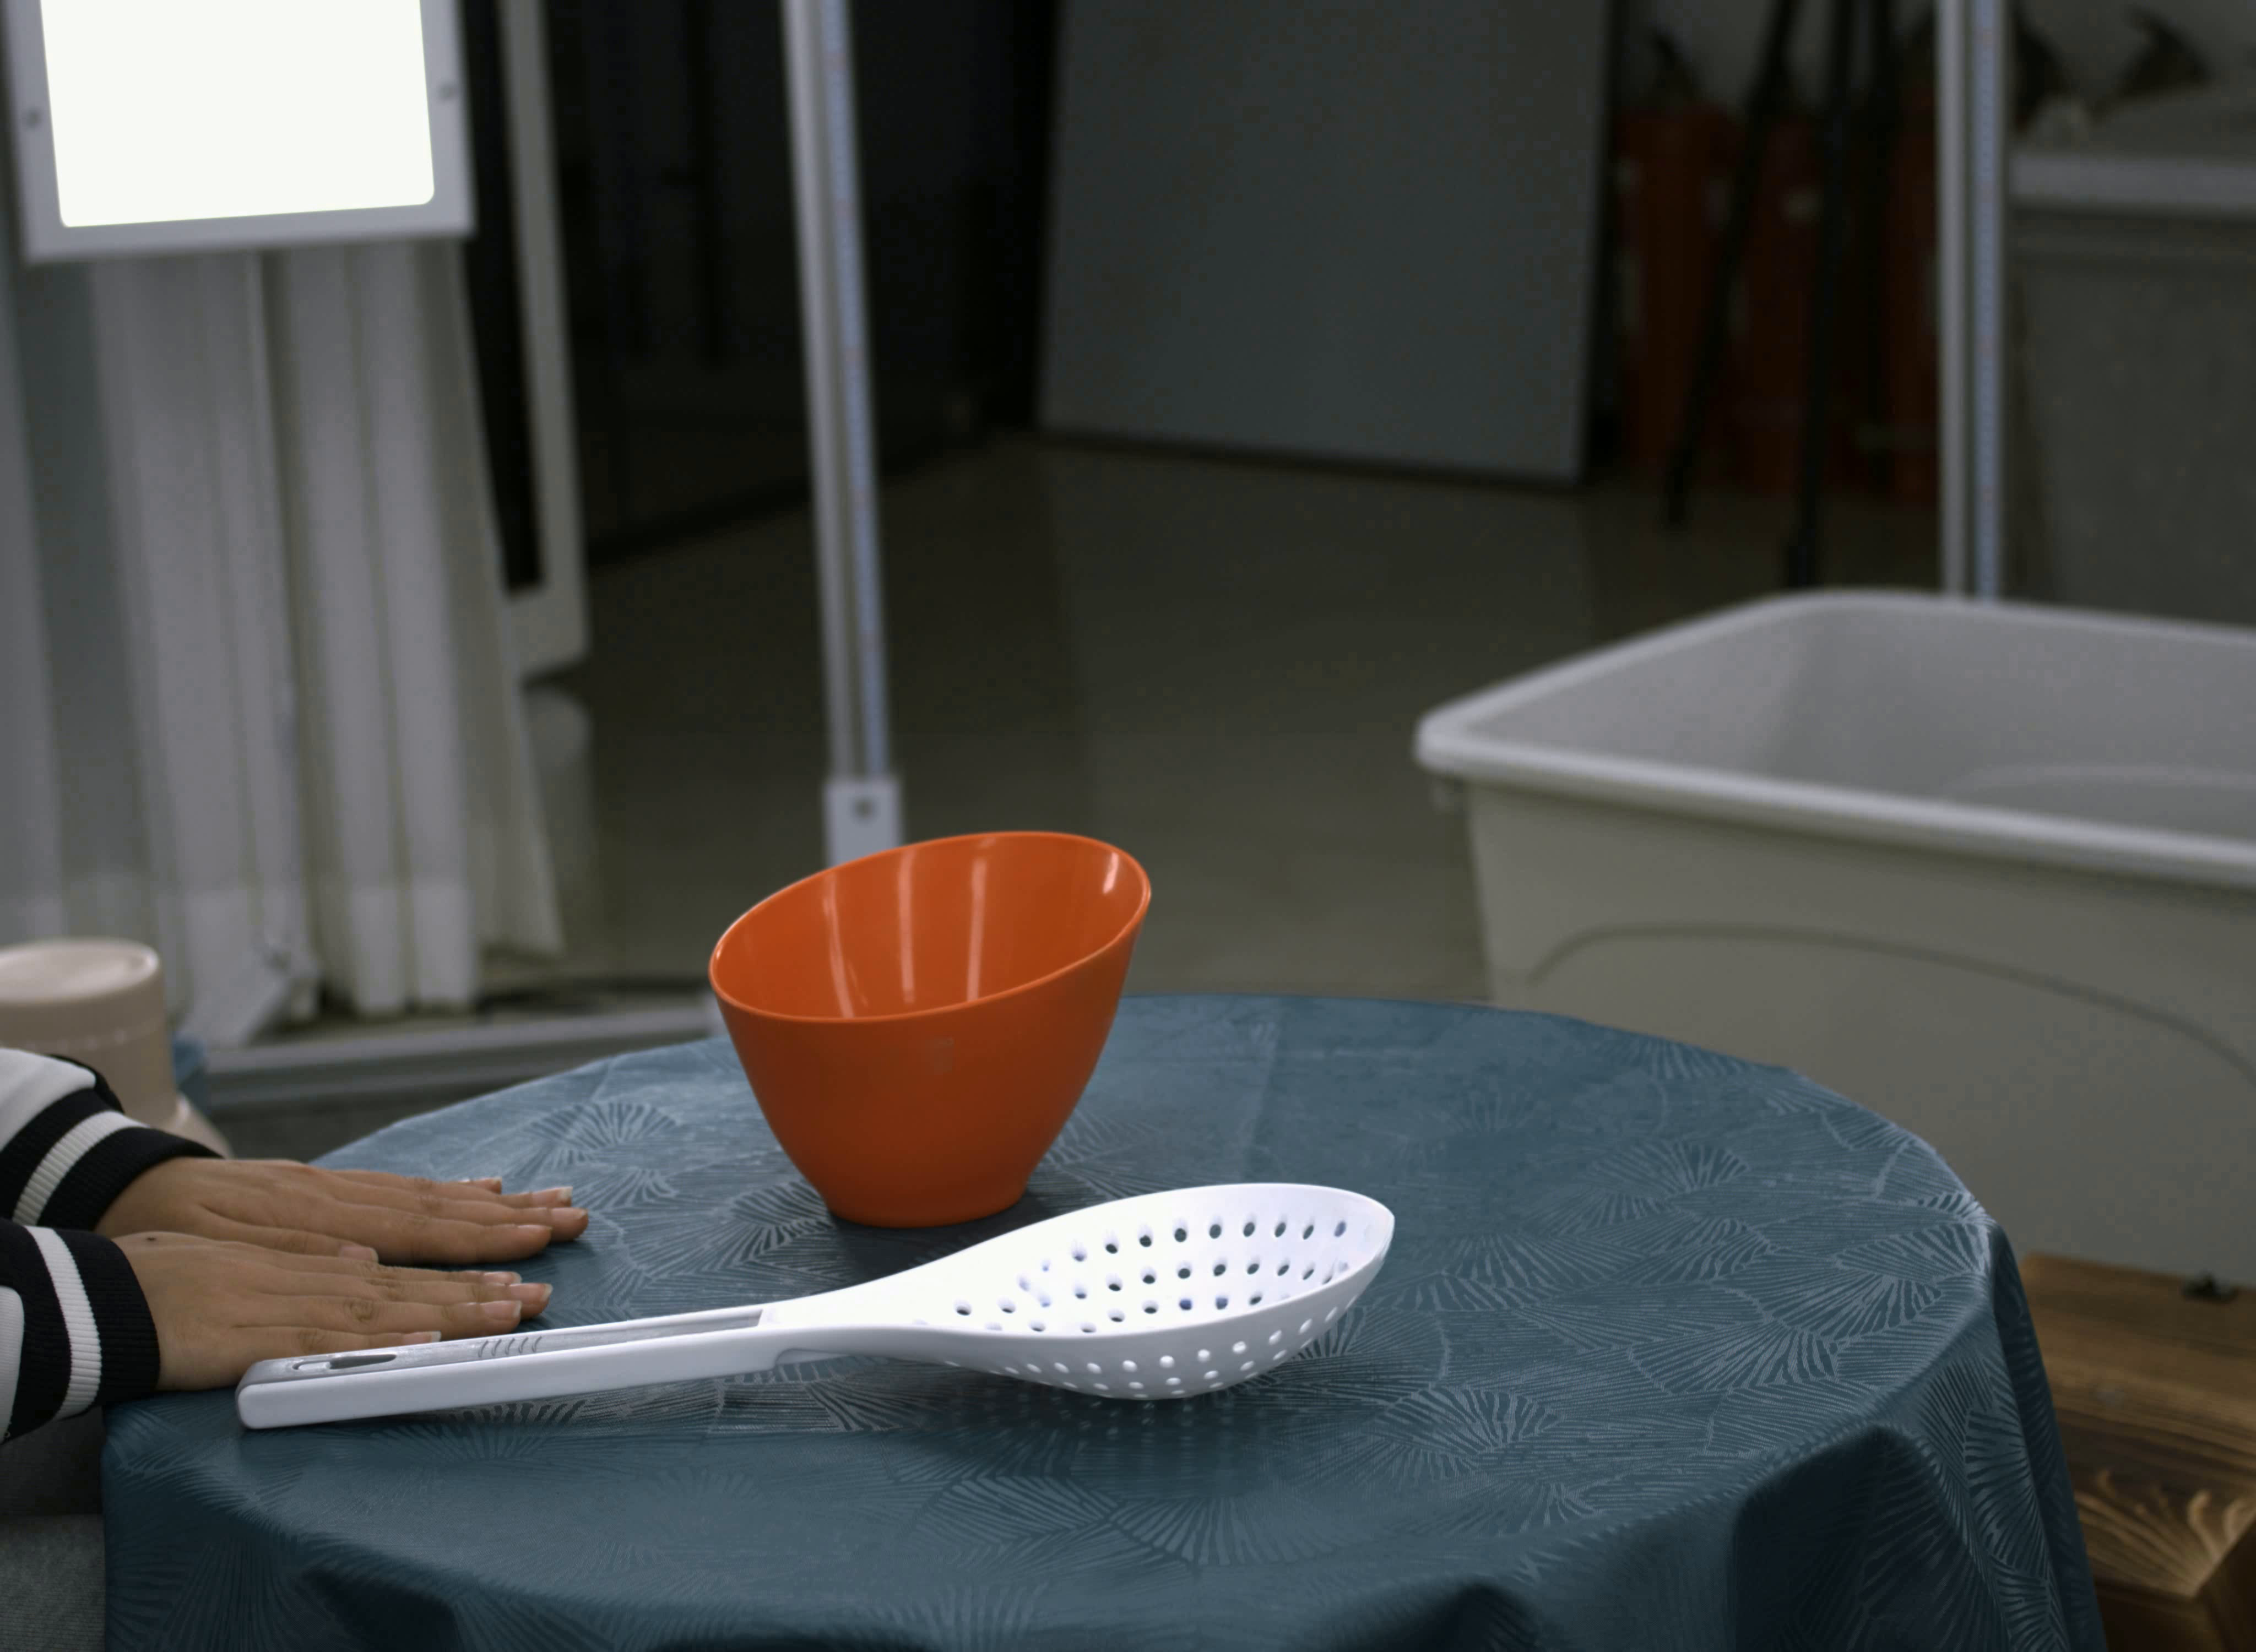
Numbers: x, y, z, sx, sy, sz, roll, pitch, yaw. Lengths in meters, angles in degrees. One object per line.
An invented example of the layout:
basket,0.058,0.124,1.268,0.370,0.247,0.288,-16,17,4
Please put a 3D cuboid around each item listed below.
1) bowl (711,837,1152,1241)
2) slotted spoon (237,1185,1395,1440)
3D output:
bowl,-0.061,0.073,1.773,0.146,0.106,0.148,-4,15,0
slotted spoon,-0.092,0.149,1.591,0.346,0.046,0.136,-4,12,6
